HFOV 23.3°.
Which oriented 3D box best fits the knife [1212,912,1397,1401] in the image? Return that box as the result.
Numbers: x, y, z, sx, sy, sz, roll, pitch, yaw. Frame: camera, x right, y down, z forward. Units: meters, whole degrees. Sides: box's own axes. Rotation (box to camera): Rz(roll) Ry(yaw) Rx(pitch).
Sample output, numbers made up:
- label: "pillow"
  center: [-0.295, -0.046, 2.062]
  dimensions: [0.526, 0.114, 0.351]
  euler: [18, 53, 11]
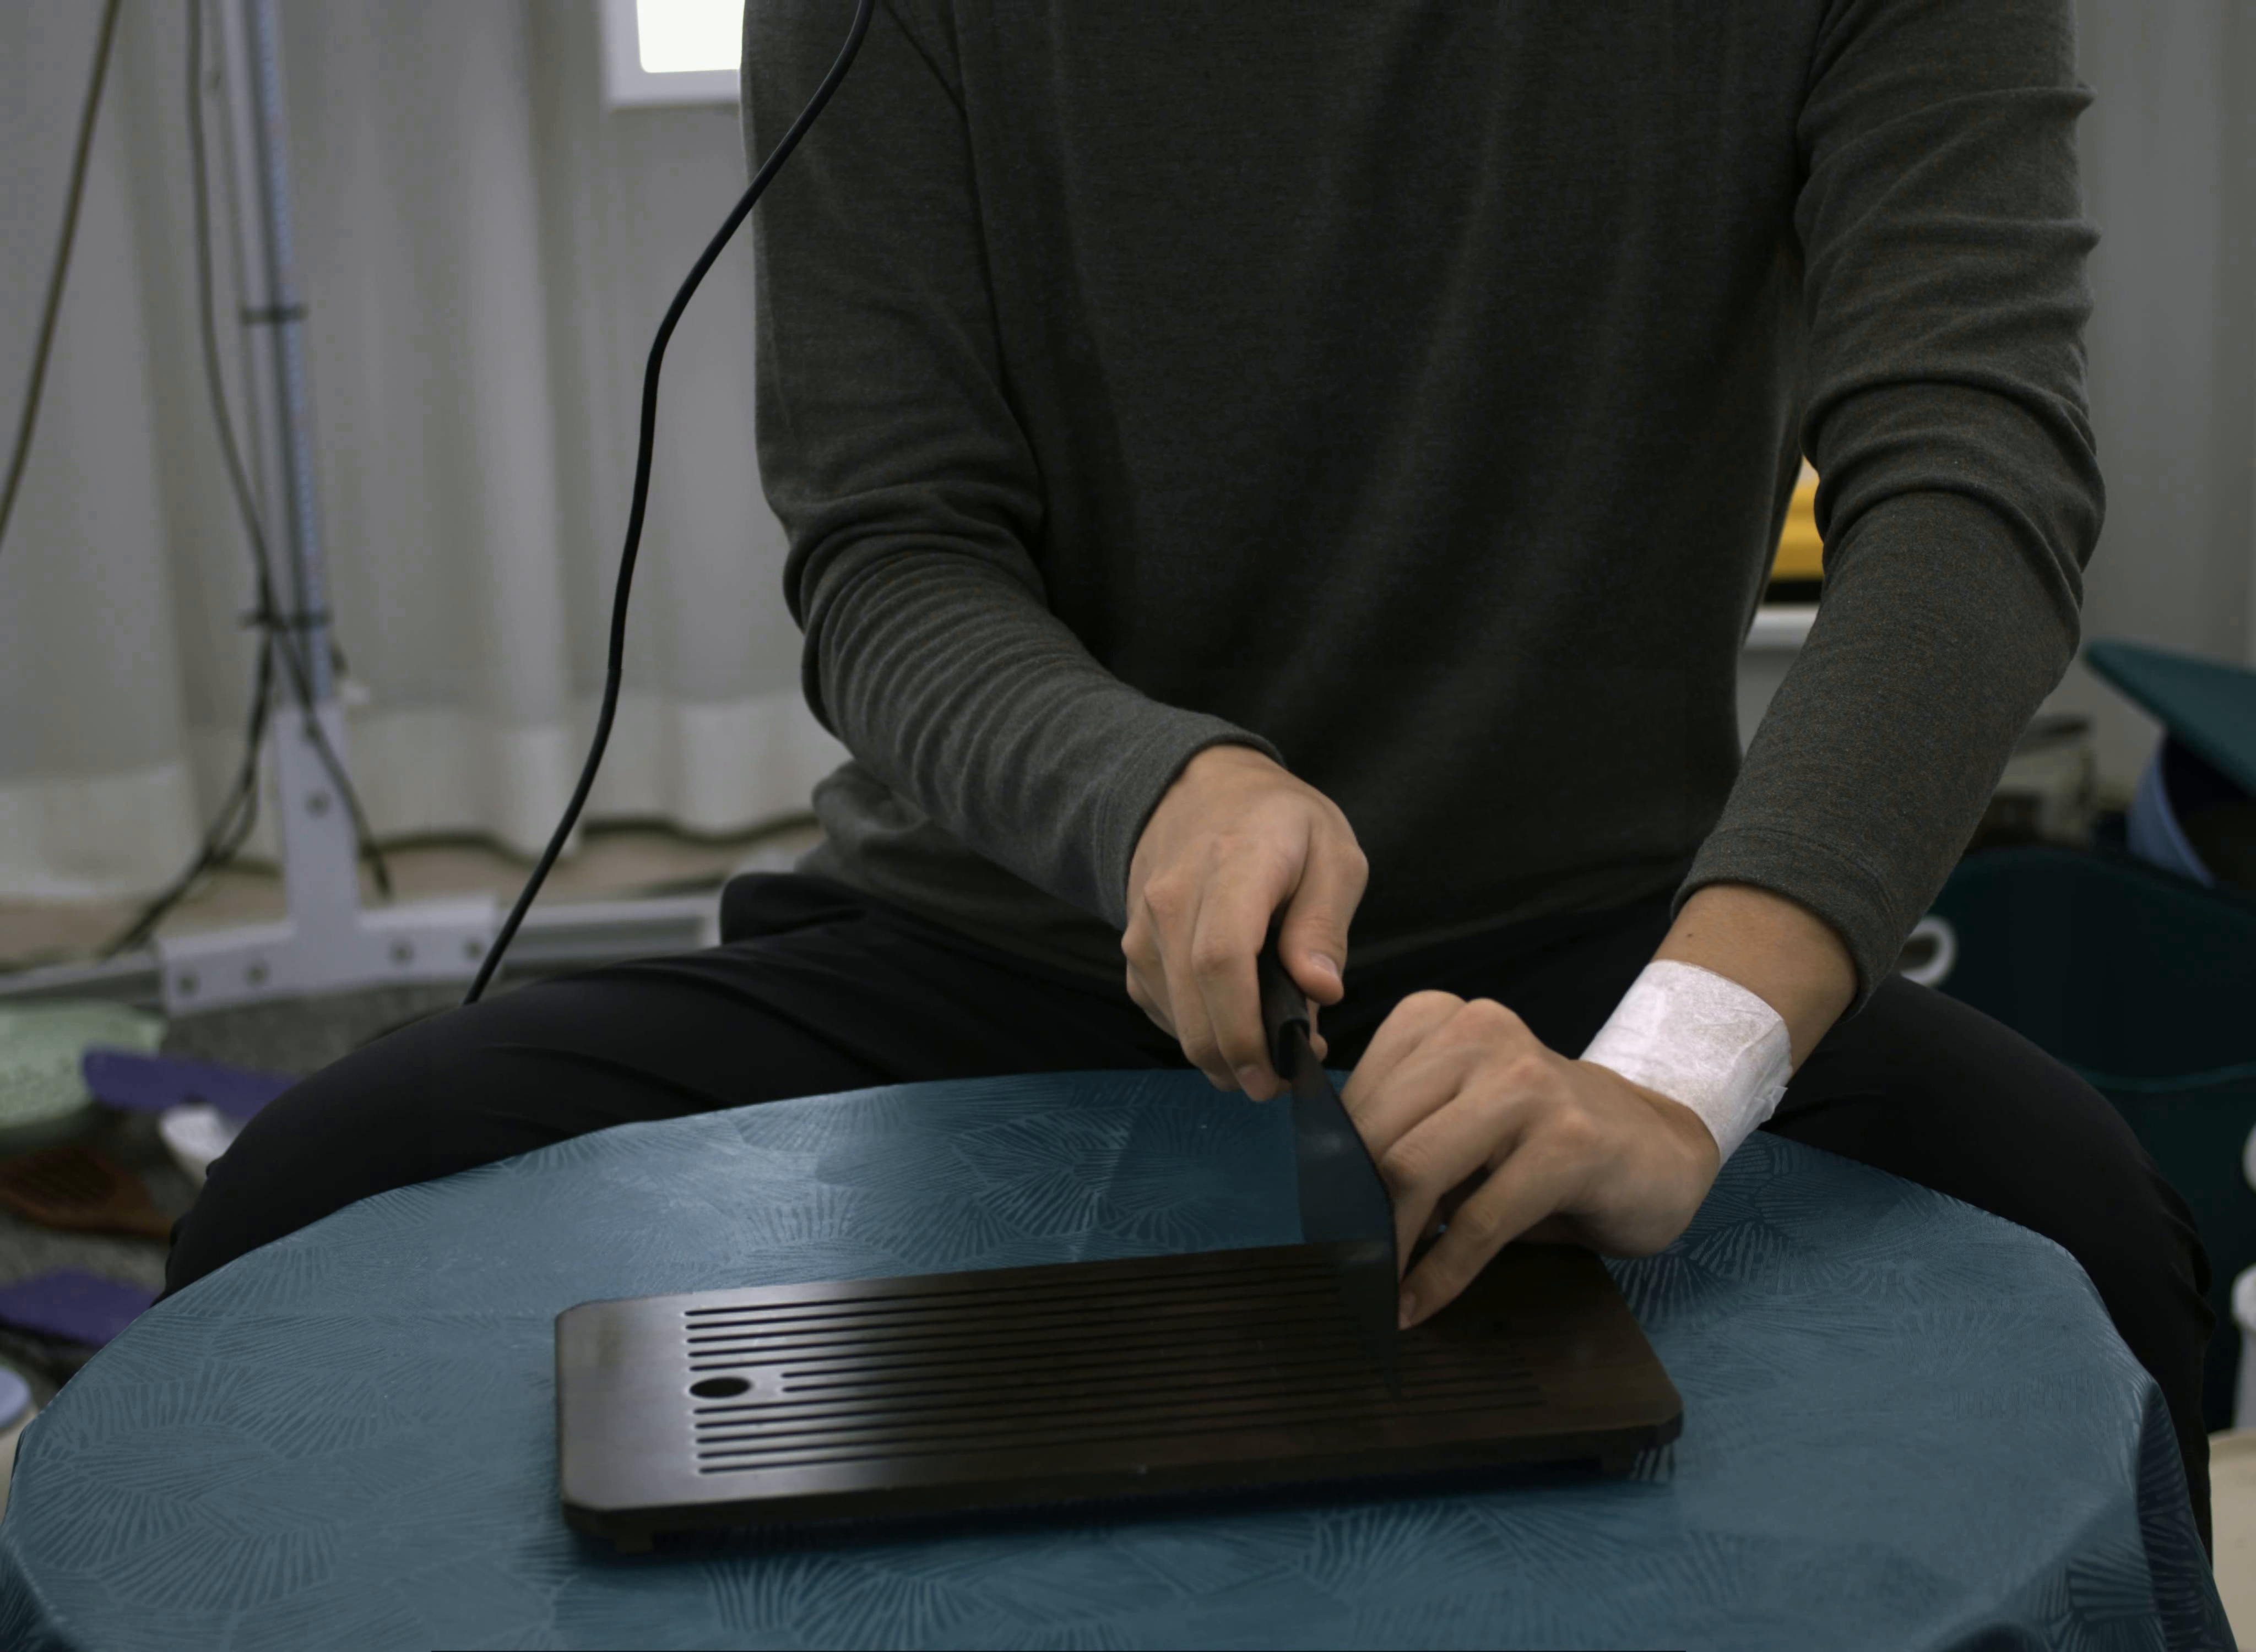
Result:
- label: "knife"
  center: [0.053, 0.087, 1.586]
  dimensions: [0.021, 0.080, 0.305]
  euler: [-3, 18, -6]

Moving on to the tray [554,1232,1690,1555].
- label: "tray"
  center: [-0.007, 0.157, 1.523]
  dimensions: [0.305, 0.018, 0.171]
  euler: [-4, 14, -5]
